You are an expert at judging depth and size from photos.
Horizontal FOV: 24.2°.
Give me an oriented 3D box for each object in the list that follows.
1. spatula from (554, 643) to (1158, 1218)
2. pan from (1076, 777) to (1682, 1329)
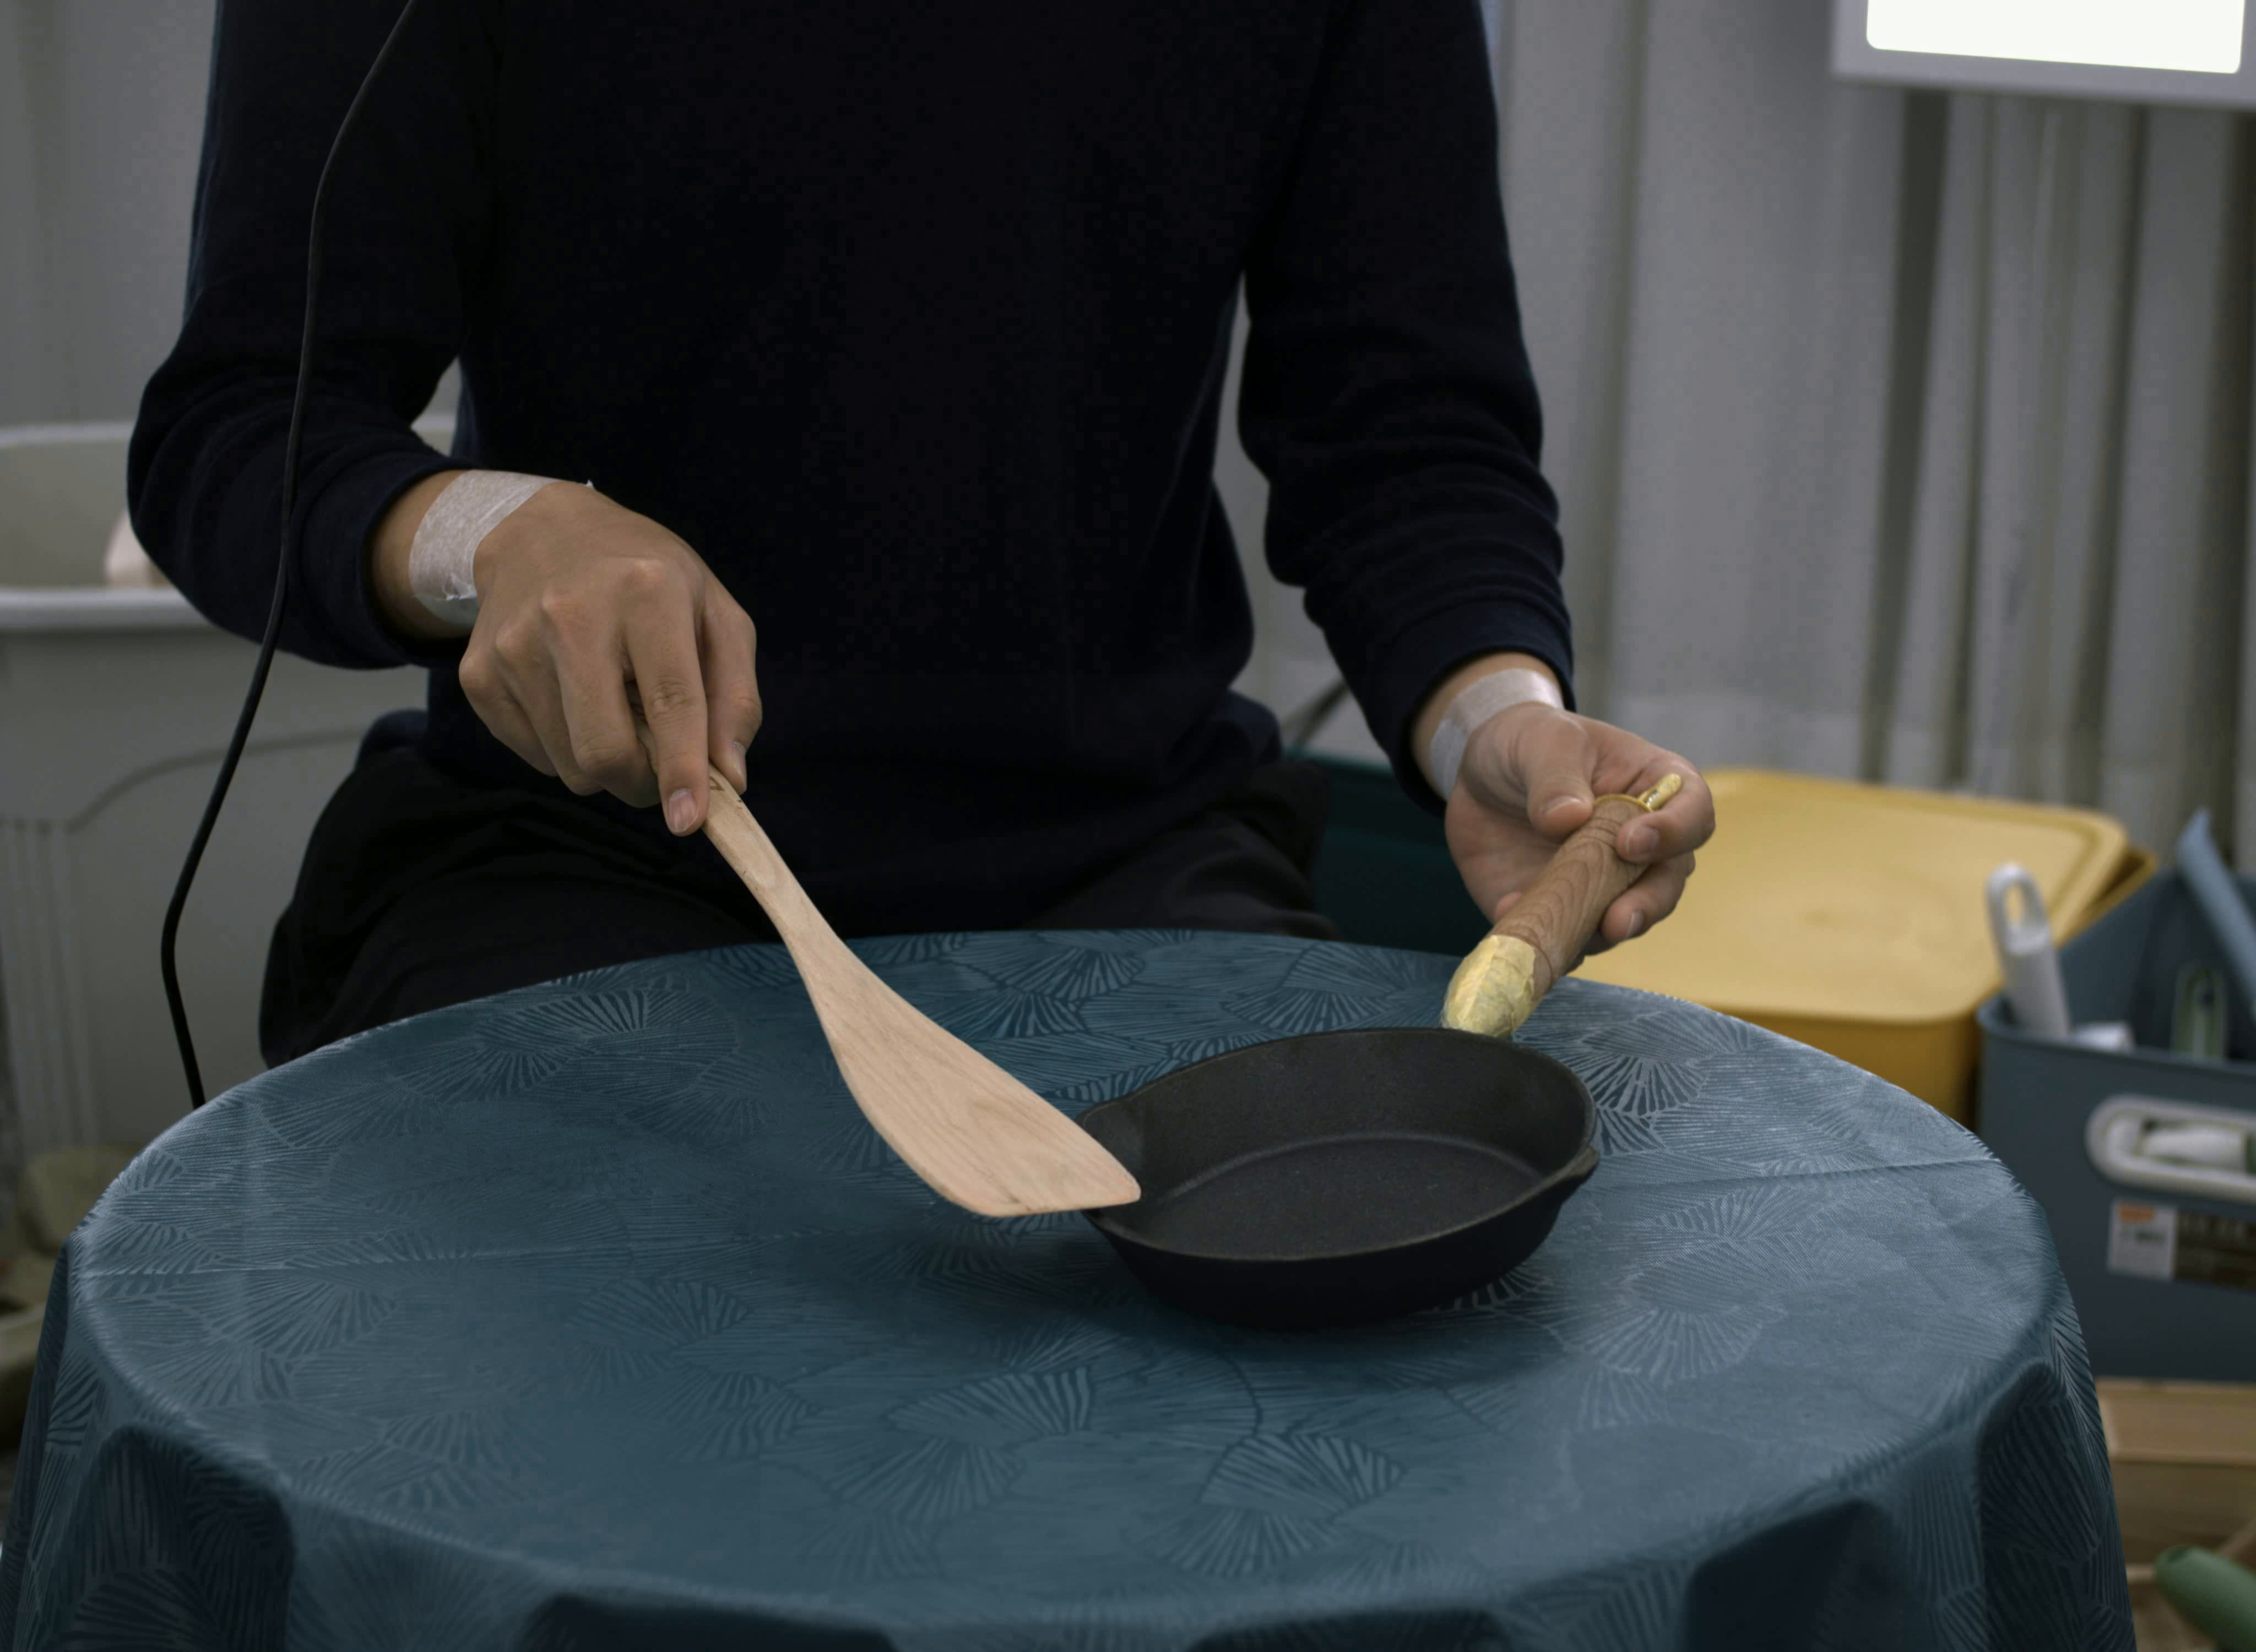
[{"bbox_3d":[-0.096,0.028,1.612,0.080,0.016,0.323,5,31,-40],"label":"spatula"},{"bbox_3d":[0.102,0.066,1.615,0.167,0.050,0.324,5,26,30],"label":"pan"}]
